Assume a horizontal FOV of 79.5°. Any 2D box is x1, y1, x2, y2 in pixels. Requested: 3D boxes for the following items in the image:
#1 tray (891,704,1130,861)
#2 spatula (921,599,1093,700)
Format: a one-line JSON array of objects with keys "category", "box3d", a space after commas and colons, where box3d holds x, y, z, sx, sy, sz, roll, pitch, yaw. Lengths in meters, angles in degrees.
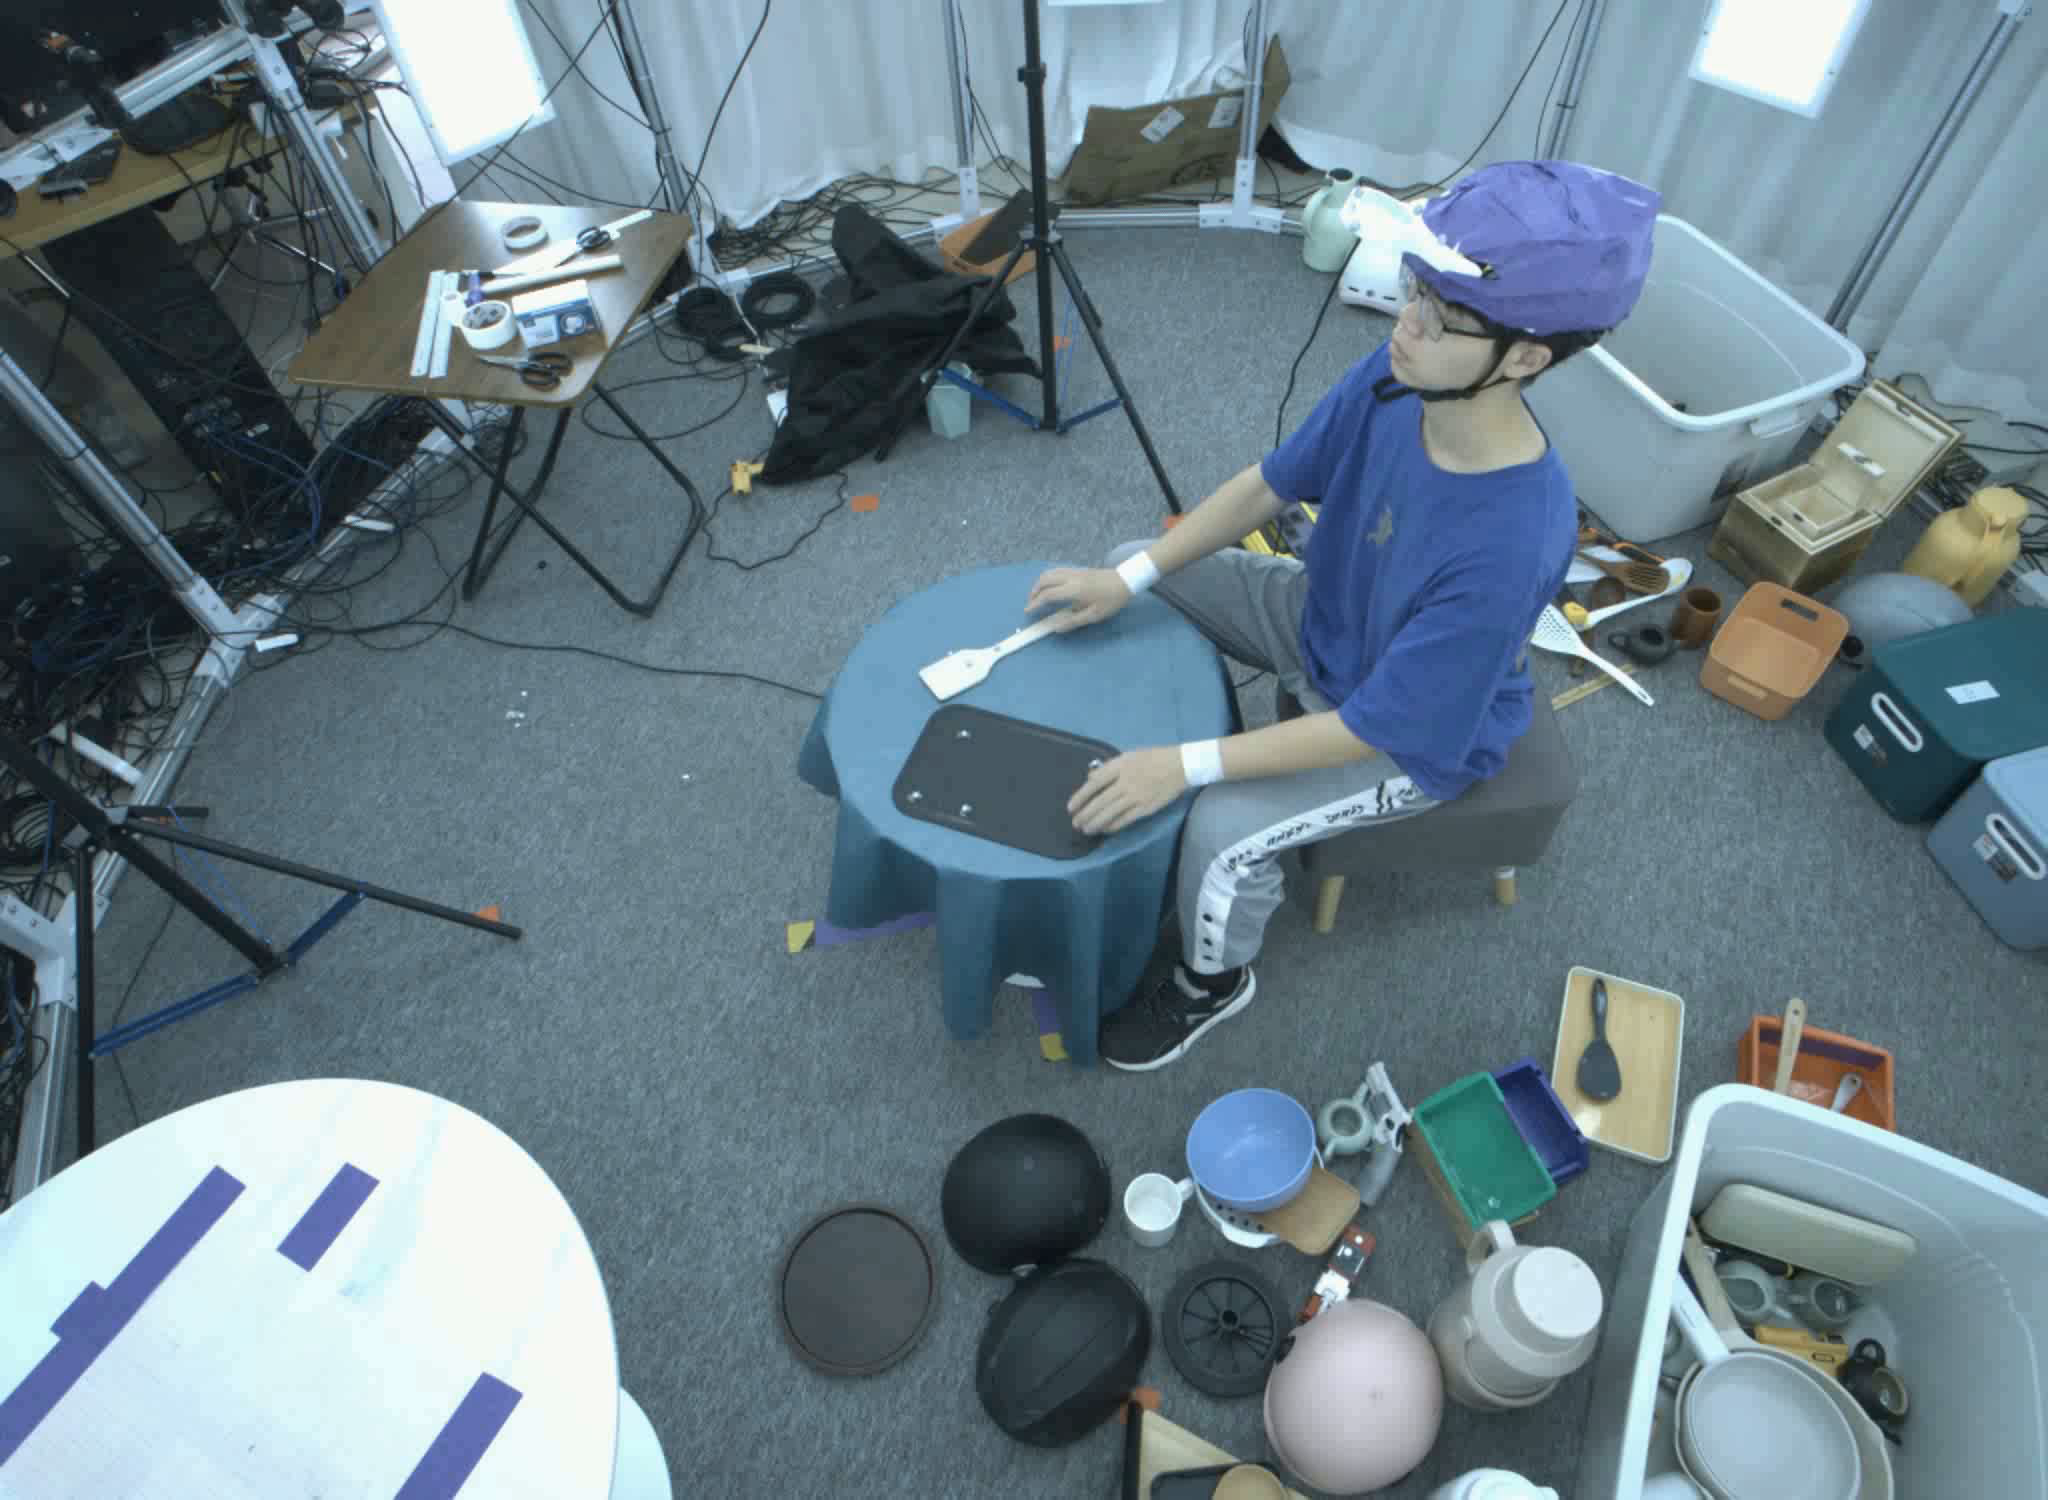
[{"category": "tray", "box3d": [-0.013, 0.042, 1.744, 0.322, 0.010, 0.211, 16, 57, 13]}, {"category": "spatula", "box3d": [-0.019, -0.163, 1.890, 0.295, 0.011, 0.071, -29, 57, -17]}]
